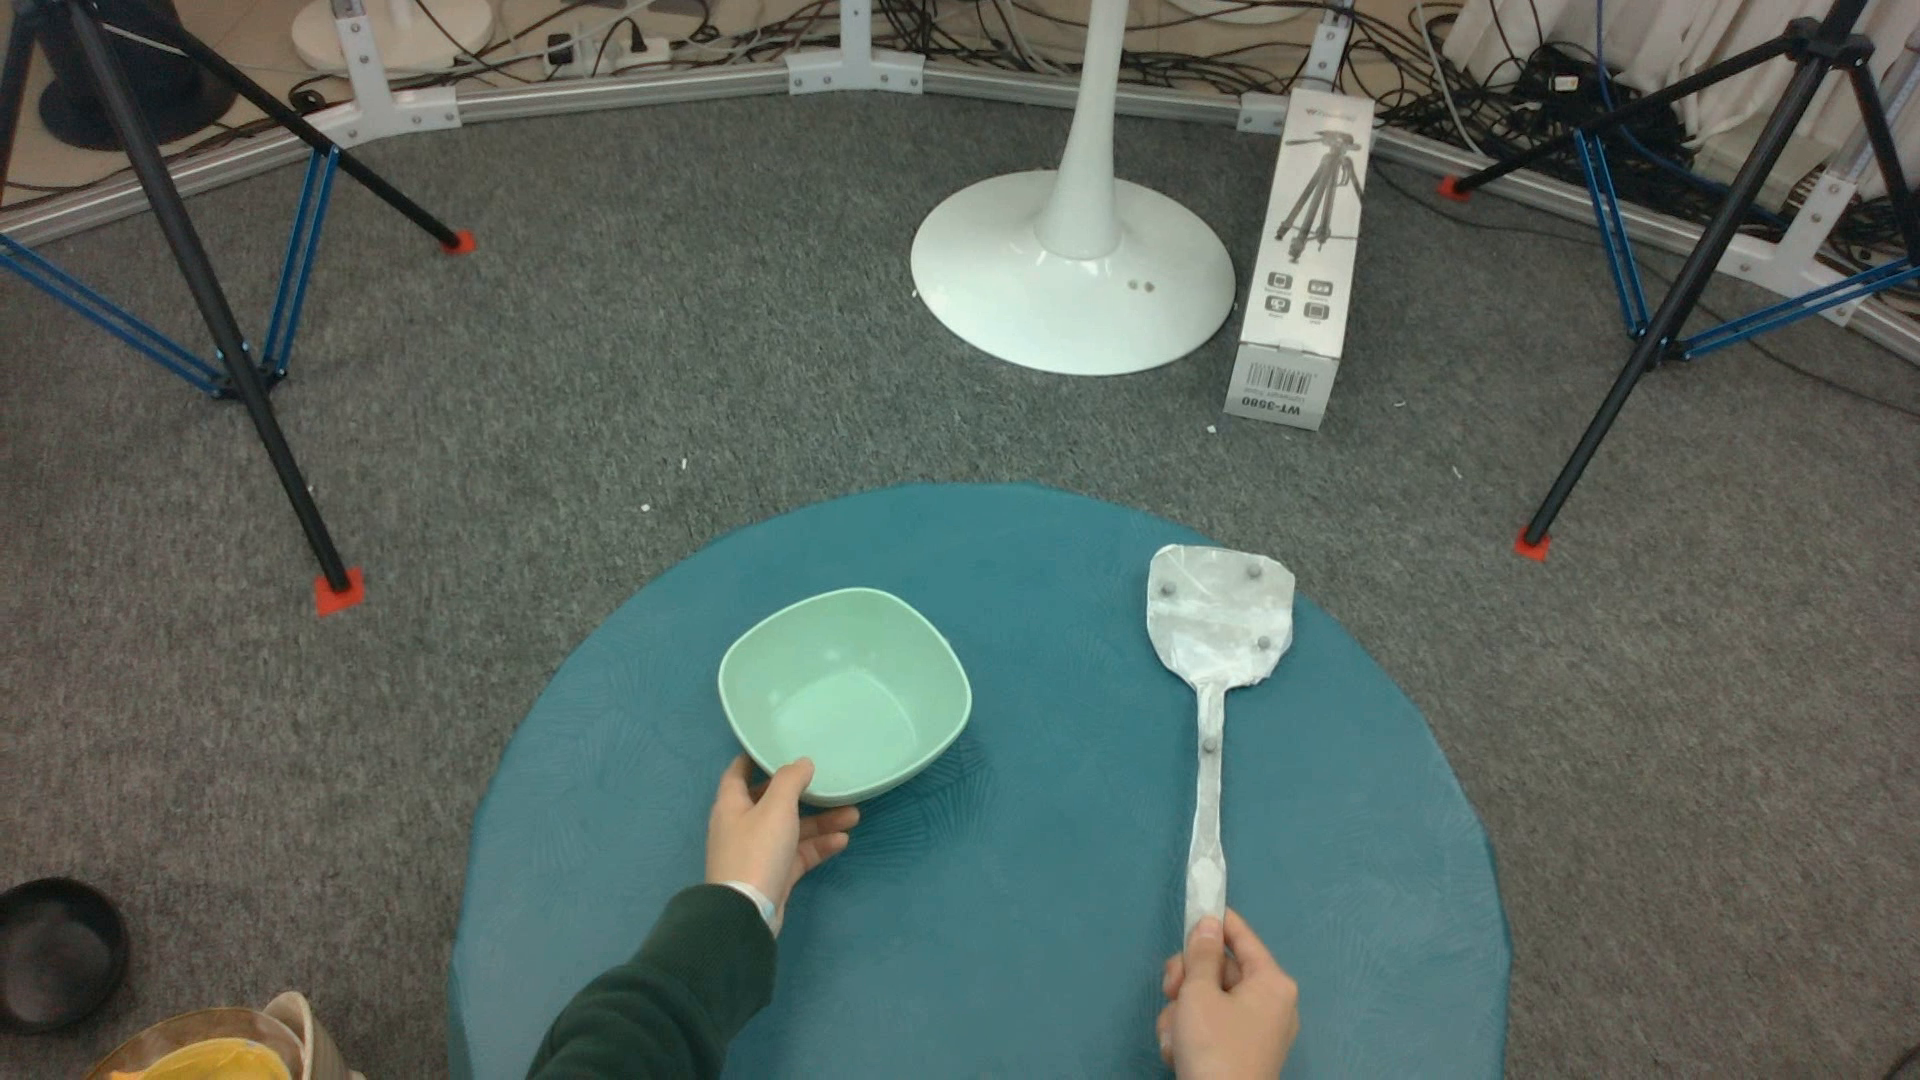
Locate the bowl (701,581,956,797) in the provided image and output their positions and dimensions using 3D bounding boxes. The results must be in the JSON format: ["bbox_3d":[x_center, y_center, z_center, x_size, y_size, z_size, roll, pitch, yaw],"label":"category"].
[{"bbox_3d":[-0.079,0.098,0.829,0.151,0.058,0.152,3,46,-3],"label":"bowl"}]

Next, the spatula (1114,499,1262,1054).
[{"bbox_3d":[0.152,0.122,0.832,0.098,0.044,0.366,-7,47,9],"label":"spatula"}]
